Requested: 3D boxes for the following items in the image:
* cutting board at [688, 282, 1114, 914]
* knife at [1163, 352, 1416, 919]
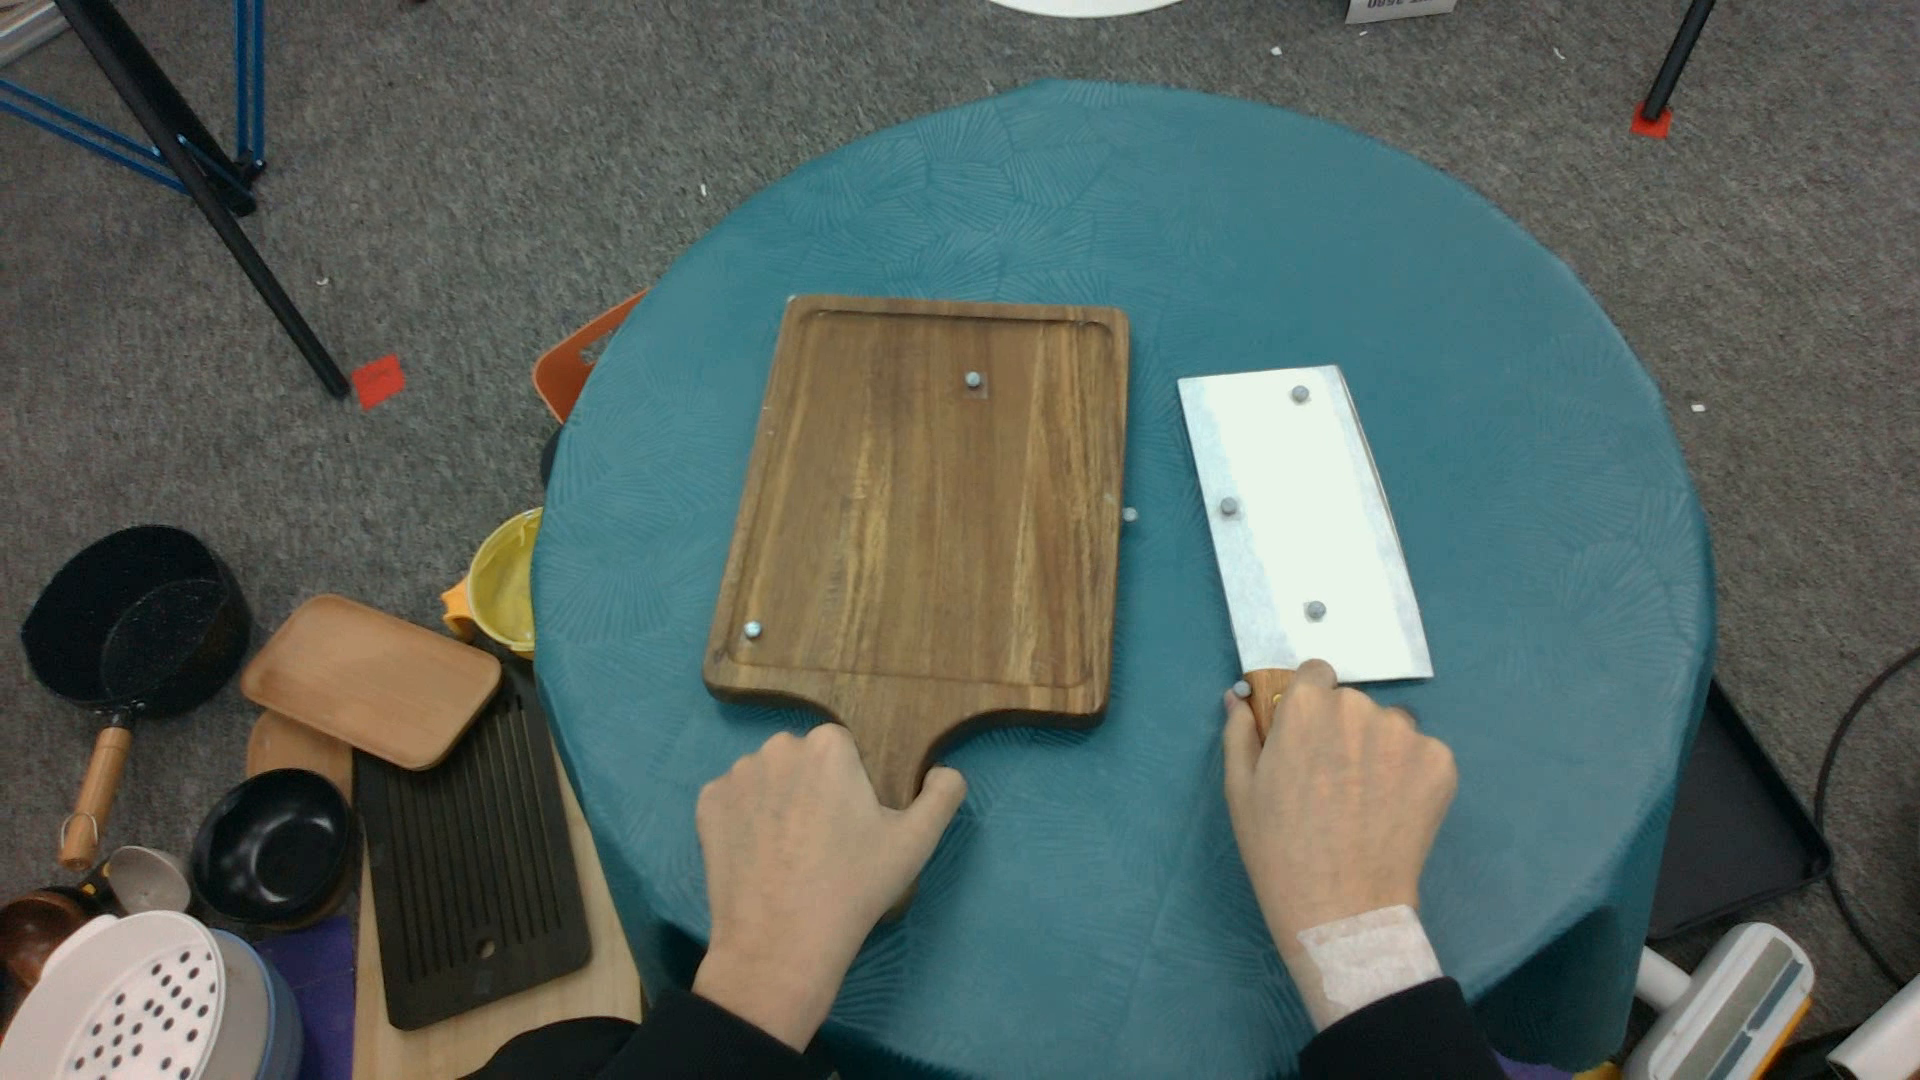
[{"bbox_3d":[-0.026,0.009,0.687,0.201,0.023,0.353,3,59,6],"label":"cutting board"},{"bbox_3d":[0.168,0.029,0.670,0.093,0.021,0.307,-5,58,-3],"label":"knife"}]
